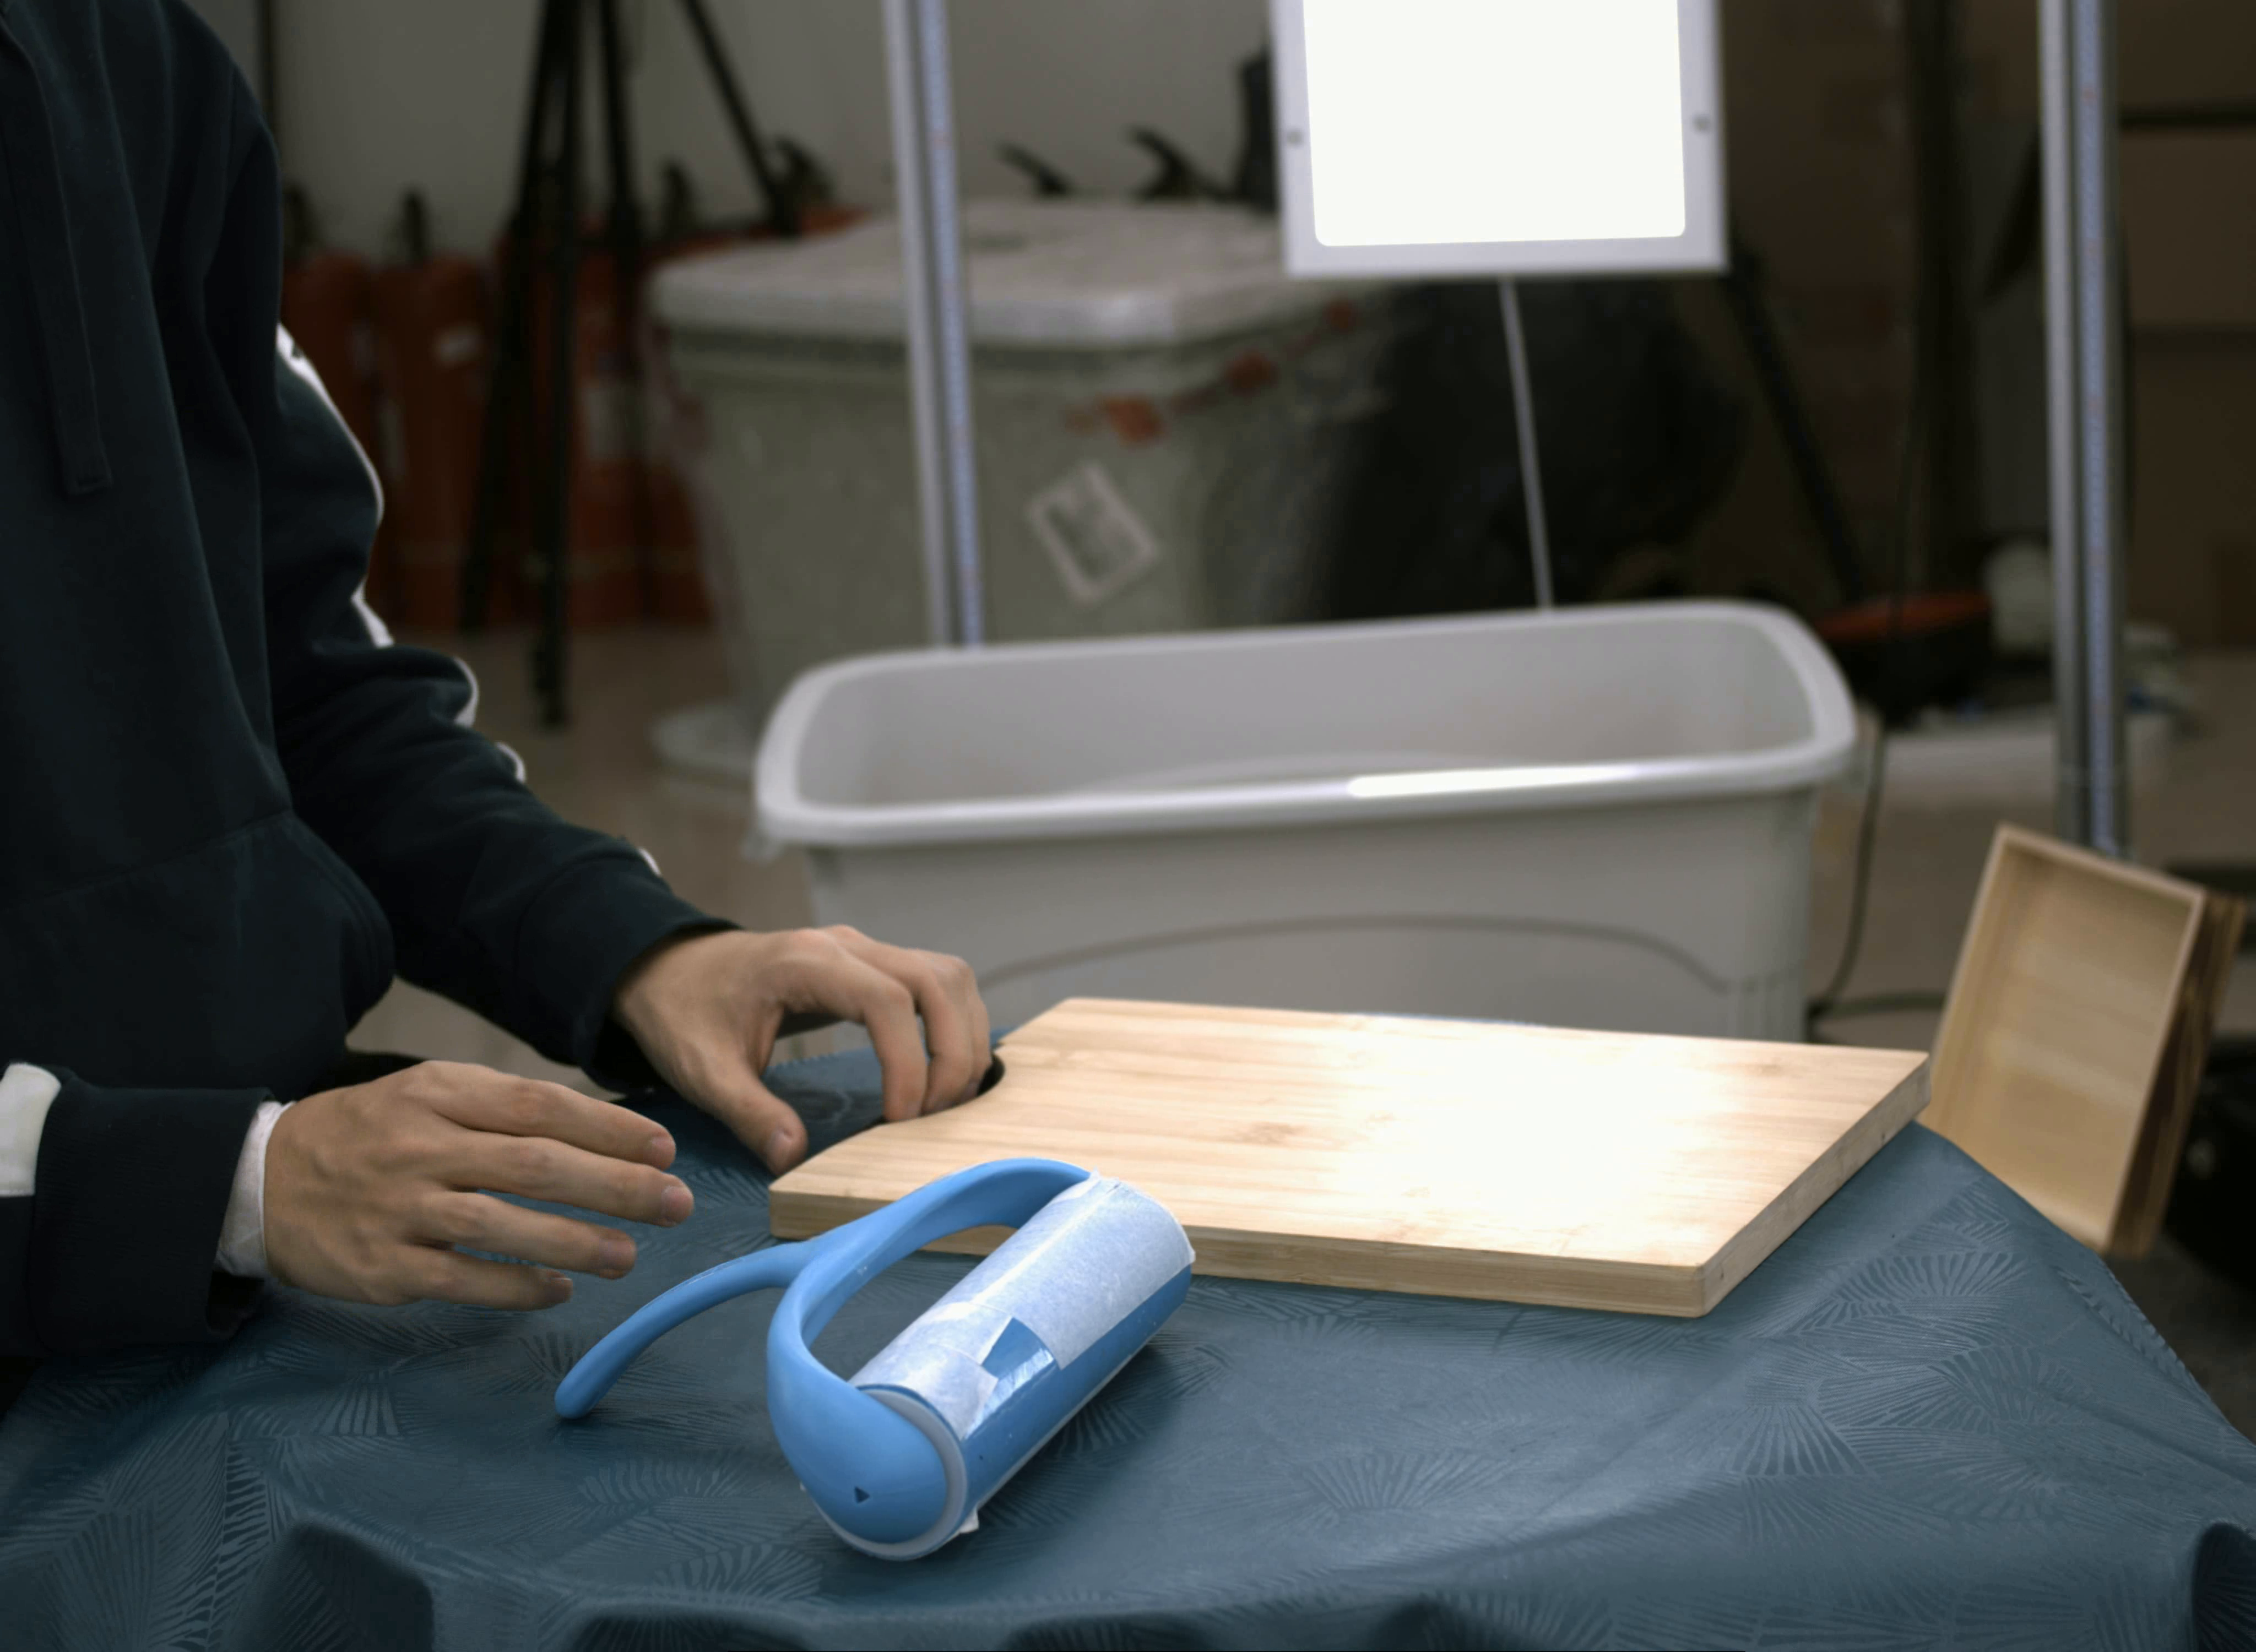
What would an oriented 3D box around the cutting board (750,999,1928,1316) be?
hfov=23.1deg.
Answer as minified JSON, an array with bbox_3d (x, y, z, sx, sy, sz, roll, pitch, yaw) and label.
[{"bbox_3d":[0.076,0.110,1.899,0.354,0.023,0.245,2,15,27],"label":"cutting board"}]

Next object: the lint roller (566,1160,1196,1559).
[{"bbox_3d":[-0.091,0.159,1.677,0.182,0.068,0.225,0,16,19],"label":"lint roller"}]
